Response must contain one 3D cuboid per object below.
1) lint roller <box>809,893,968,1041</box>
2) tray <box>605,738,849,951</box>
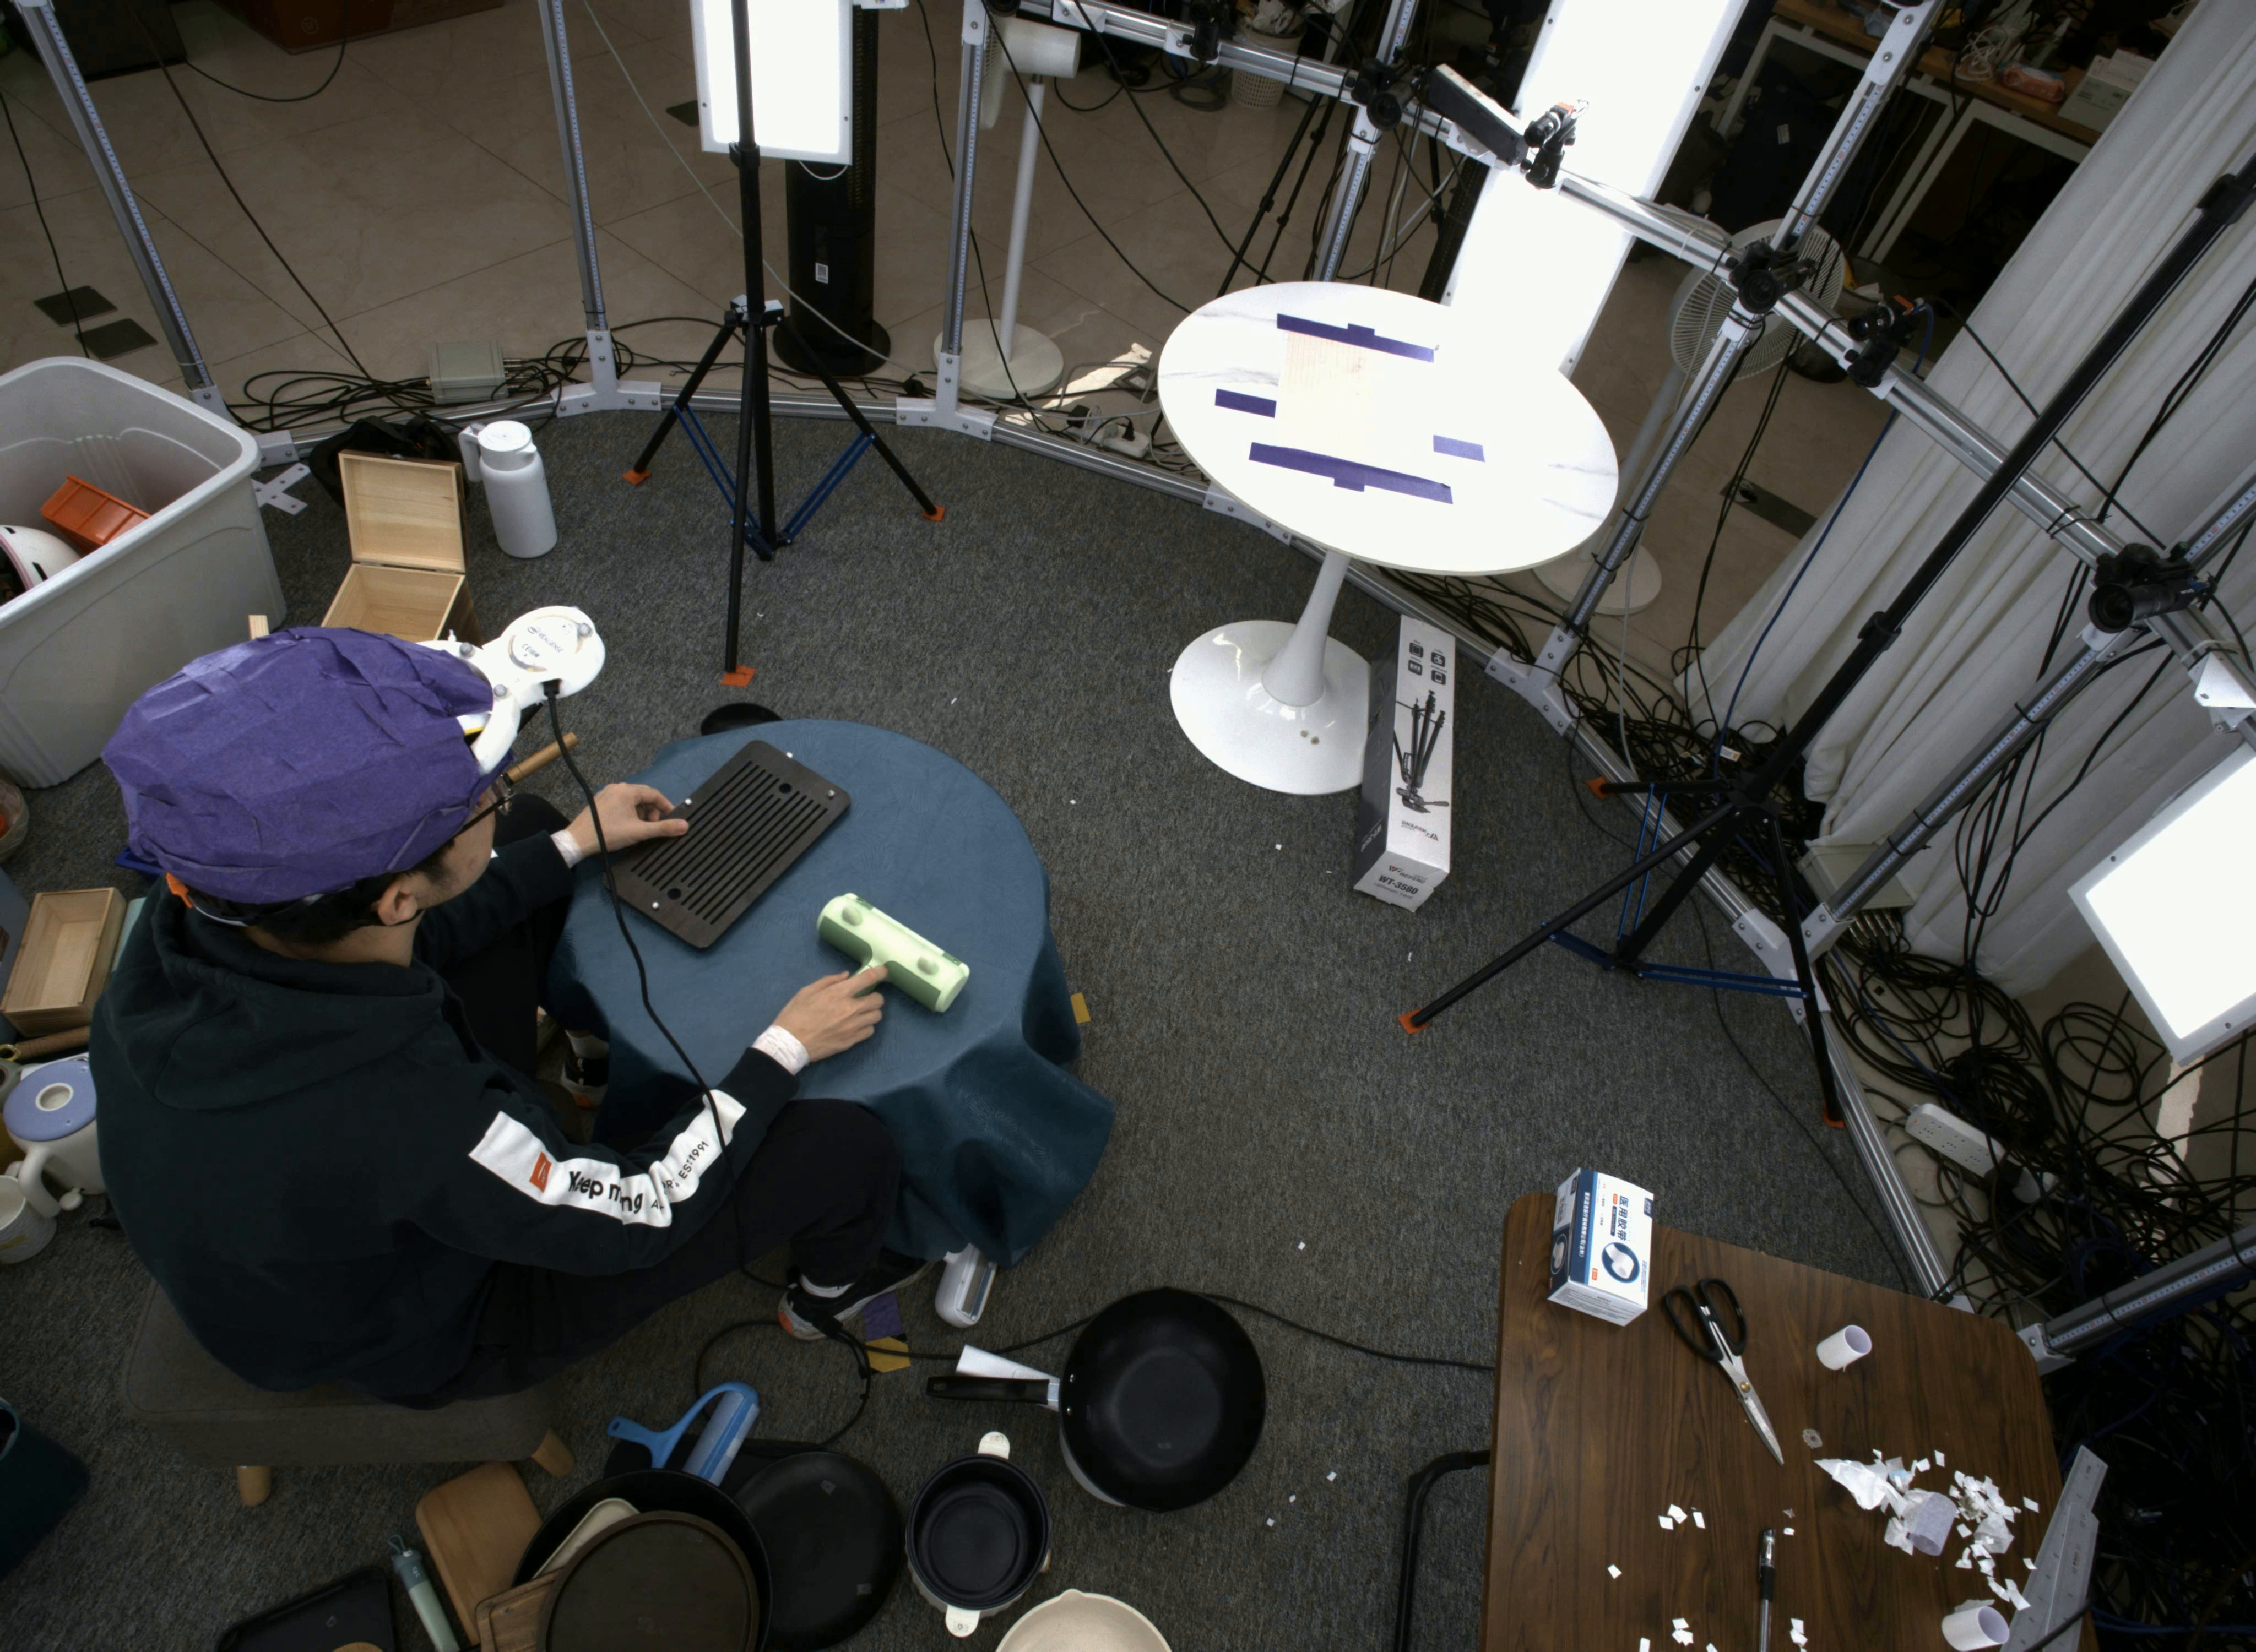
[{"bbox_3d":[-0.320,0.178,1.568,0.195,0.084,0.183,32,44,11],"label":"lint roller"},{"bbox_3d":[-0.517,0.018,1.677,0.168,0.019,0.305,32,53,7],"label":"tray"}]
